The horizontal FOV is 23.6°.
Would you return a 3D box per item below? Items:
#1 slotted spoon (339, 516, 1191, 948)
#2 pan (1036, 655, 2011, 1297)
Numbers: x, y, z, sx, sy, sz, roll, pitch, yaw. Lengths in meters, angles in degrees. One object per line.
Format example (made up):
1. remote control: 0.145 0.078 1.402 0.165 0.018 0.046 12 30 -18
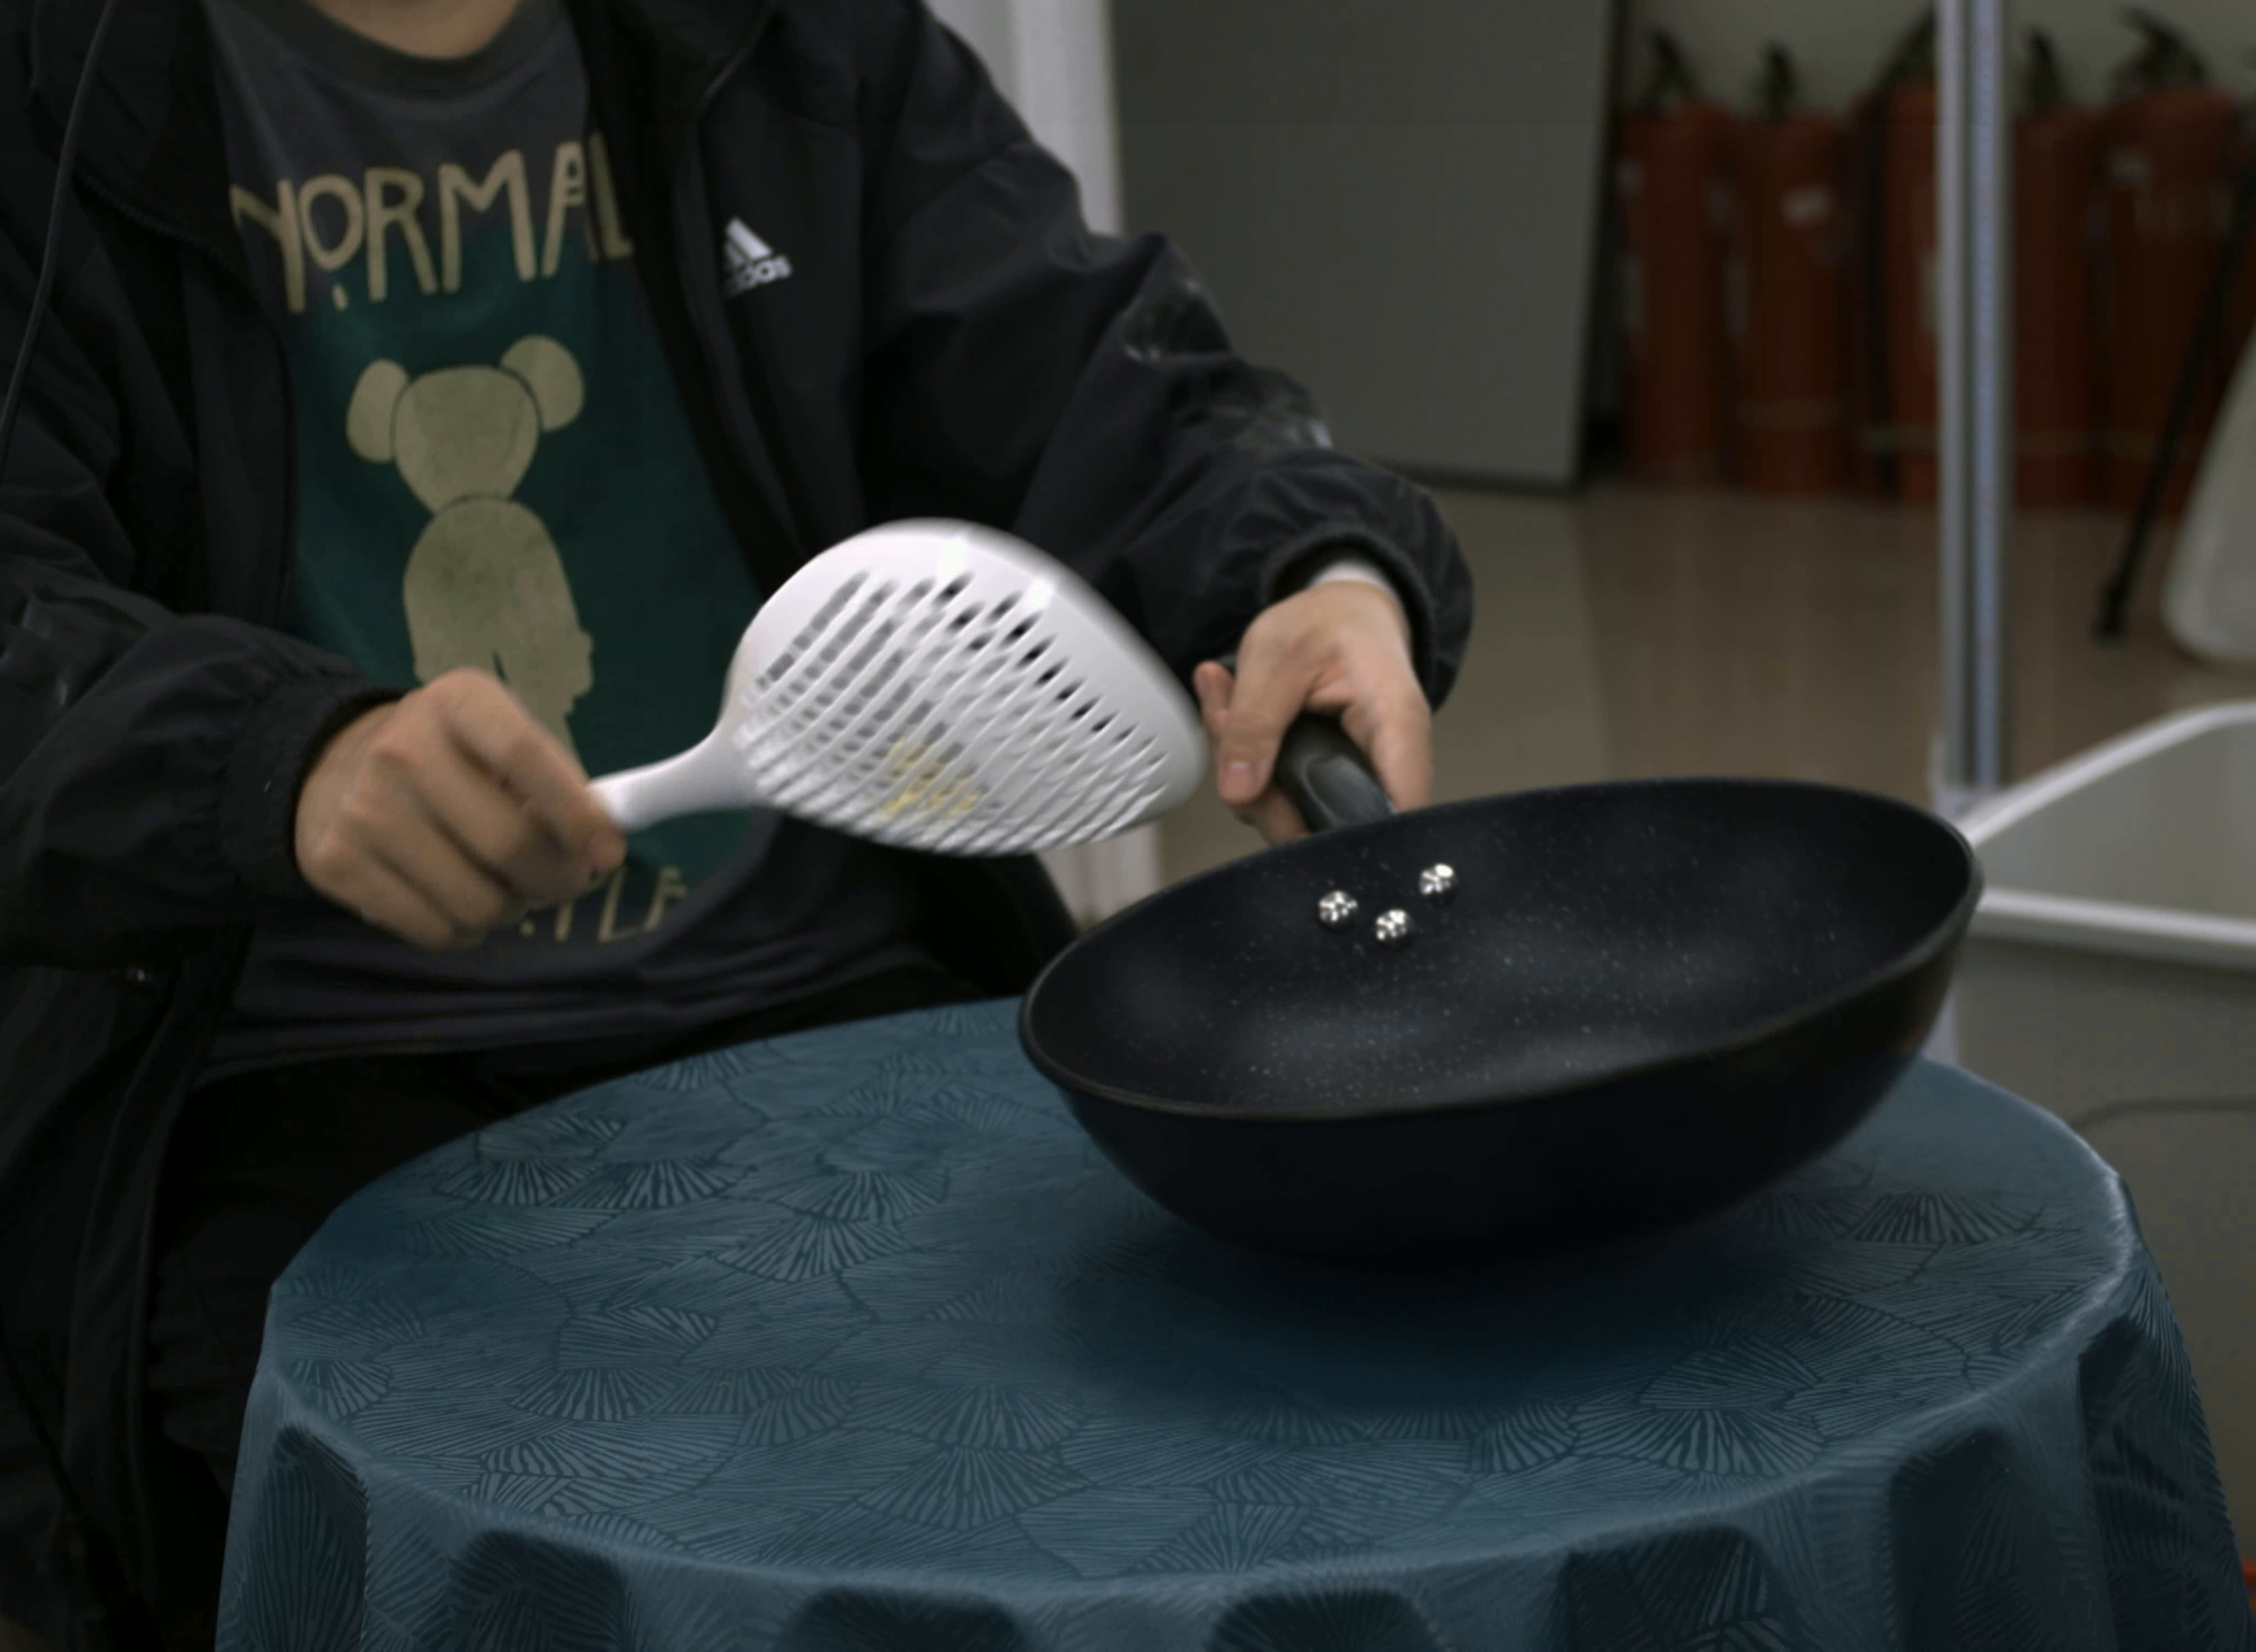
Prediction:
1. slotted spoon: -0.127 -0.007 1.679 0.351 0.135 0.050 -15 41 46
2. pan: 0.107 0.046 1.769 0.305 0.113 0.480 -12 16 -10
